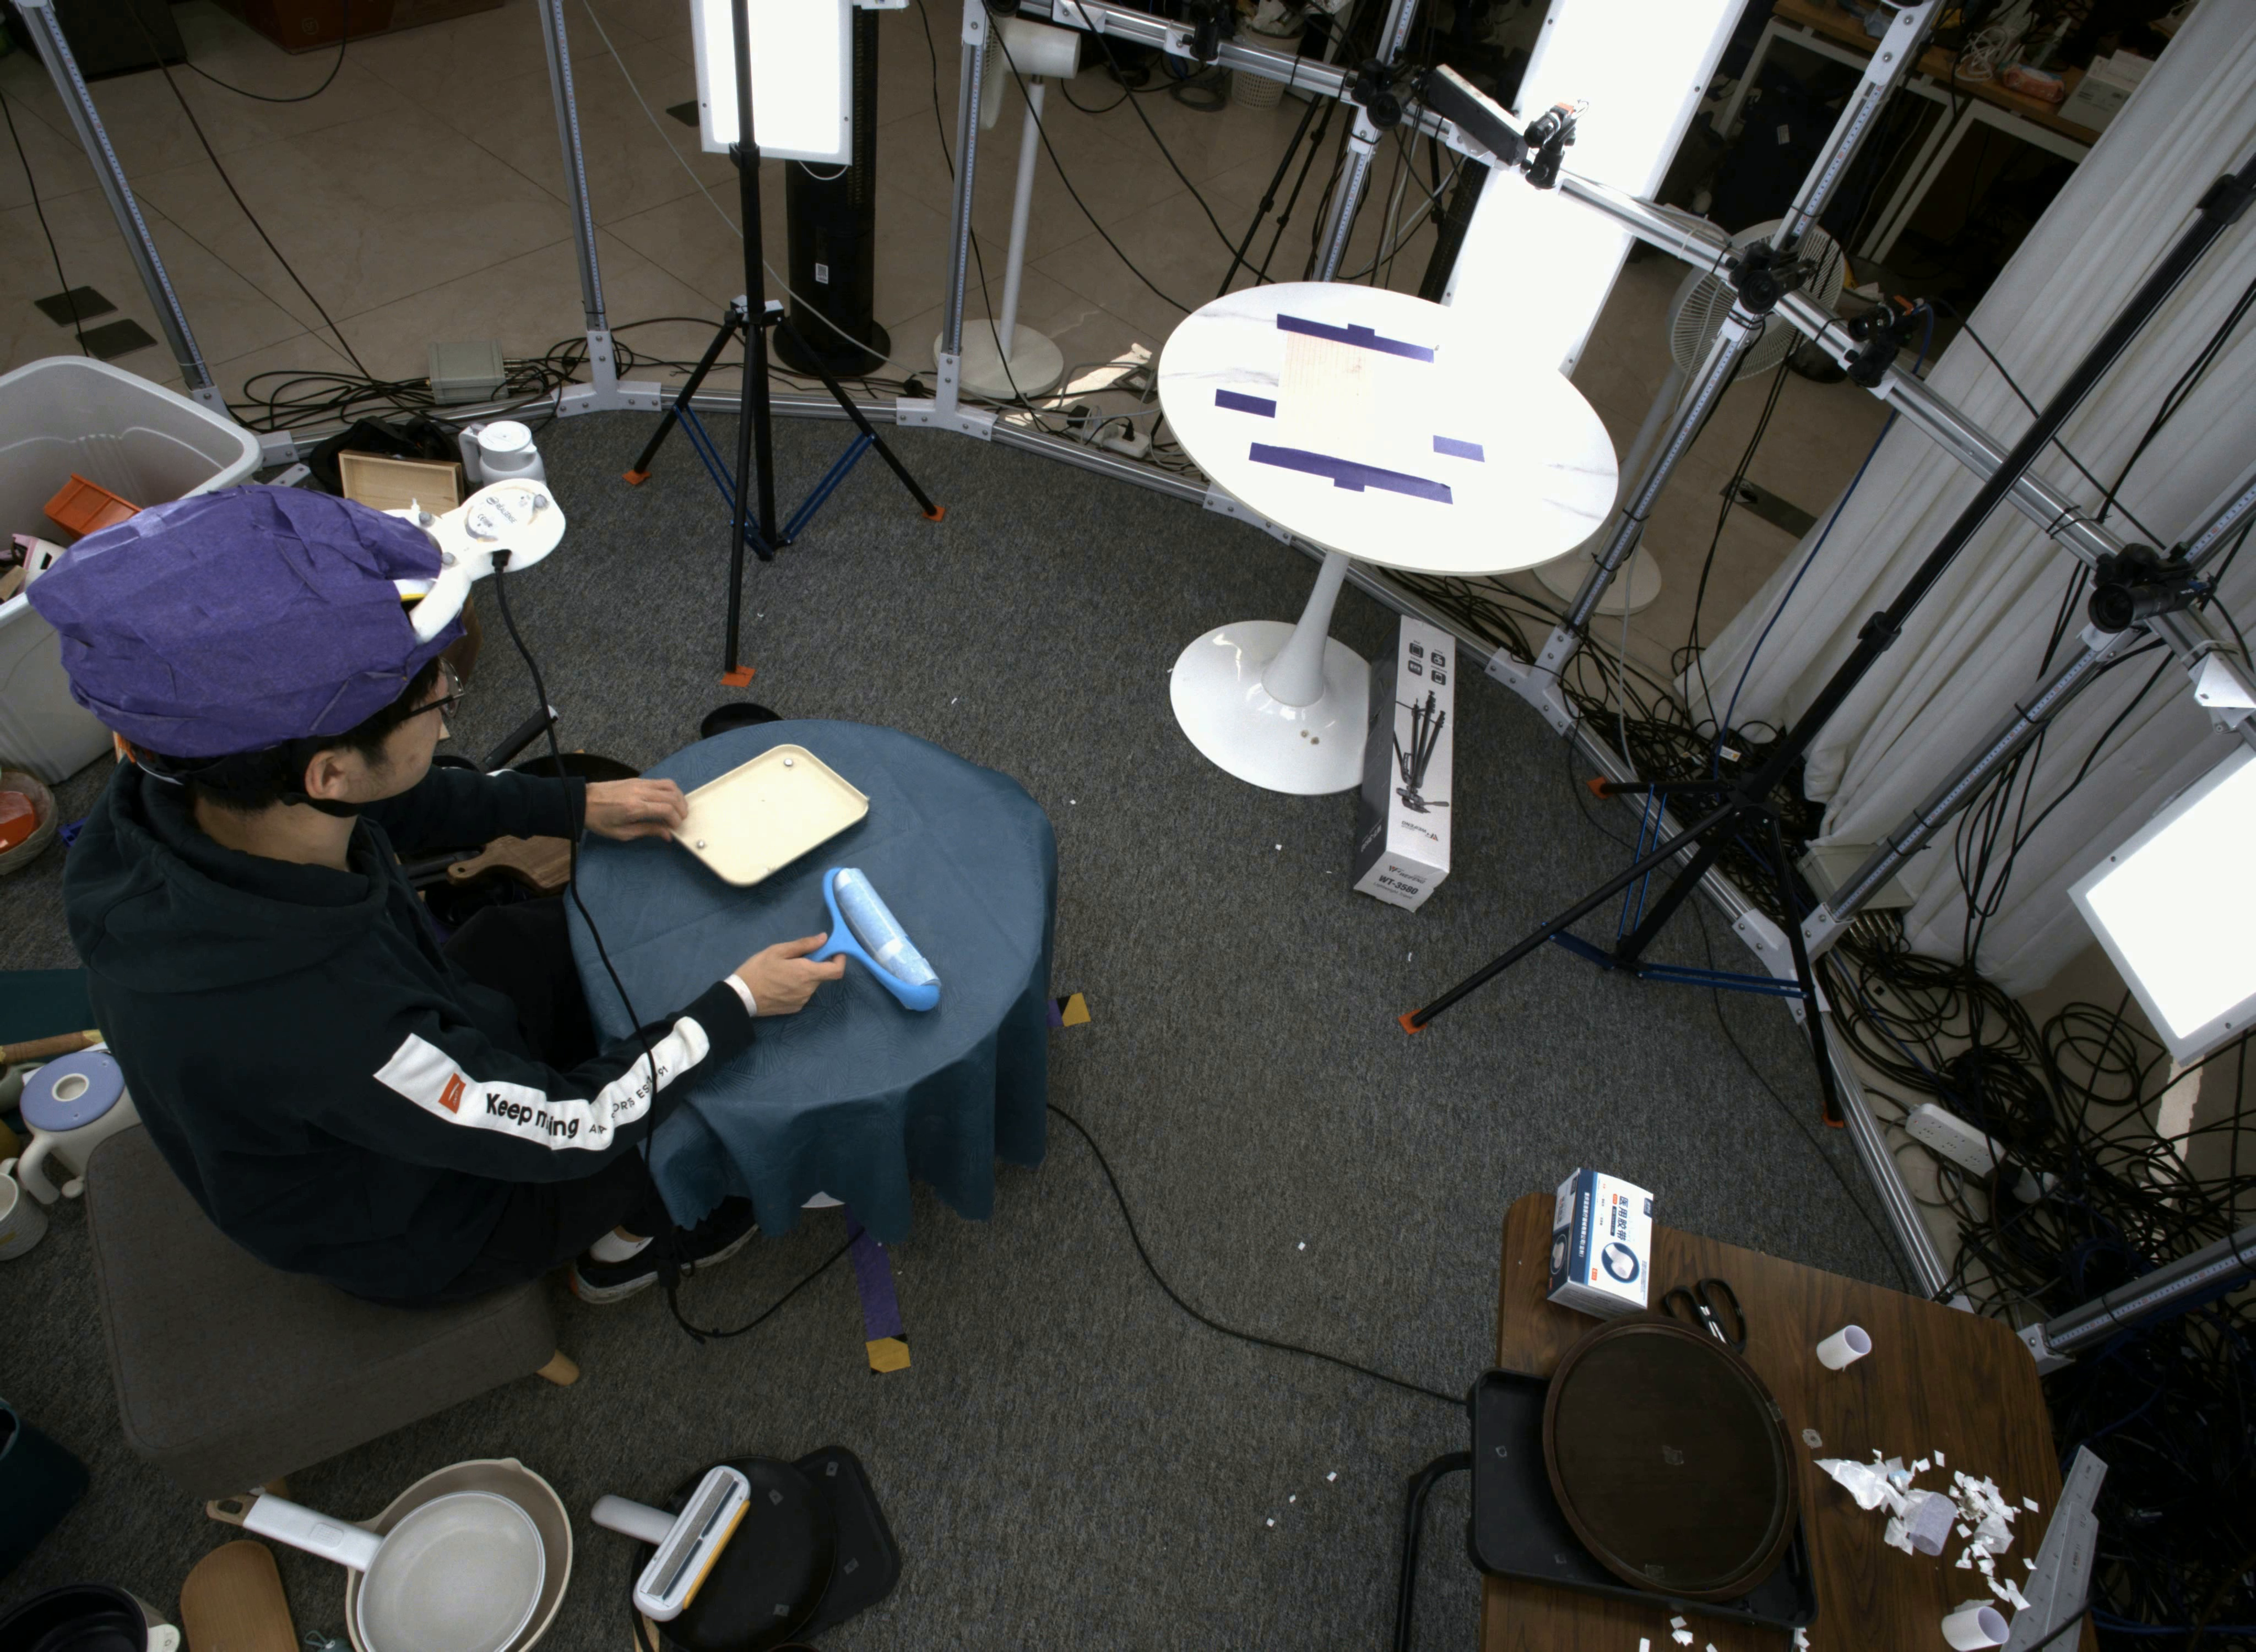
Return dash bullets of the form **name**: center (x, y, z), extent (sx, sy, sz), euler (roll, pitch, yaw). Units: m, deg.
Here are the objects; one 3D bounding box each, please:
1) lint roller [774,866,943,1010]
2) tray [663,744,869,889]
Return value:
- **lint roller**: center (-0.349, 0.156, 1.590), extent (0.181, 0.069, 0.224), euler (-26, 66, -37)
- **tray**: center (-0.473, -0.016, 1.700), extent (0.167, 0.018, 0.240), euler (37, 47, 16)
